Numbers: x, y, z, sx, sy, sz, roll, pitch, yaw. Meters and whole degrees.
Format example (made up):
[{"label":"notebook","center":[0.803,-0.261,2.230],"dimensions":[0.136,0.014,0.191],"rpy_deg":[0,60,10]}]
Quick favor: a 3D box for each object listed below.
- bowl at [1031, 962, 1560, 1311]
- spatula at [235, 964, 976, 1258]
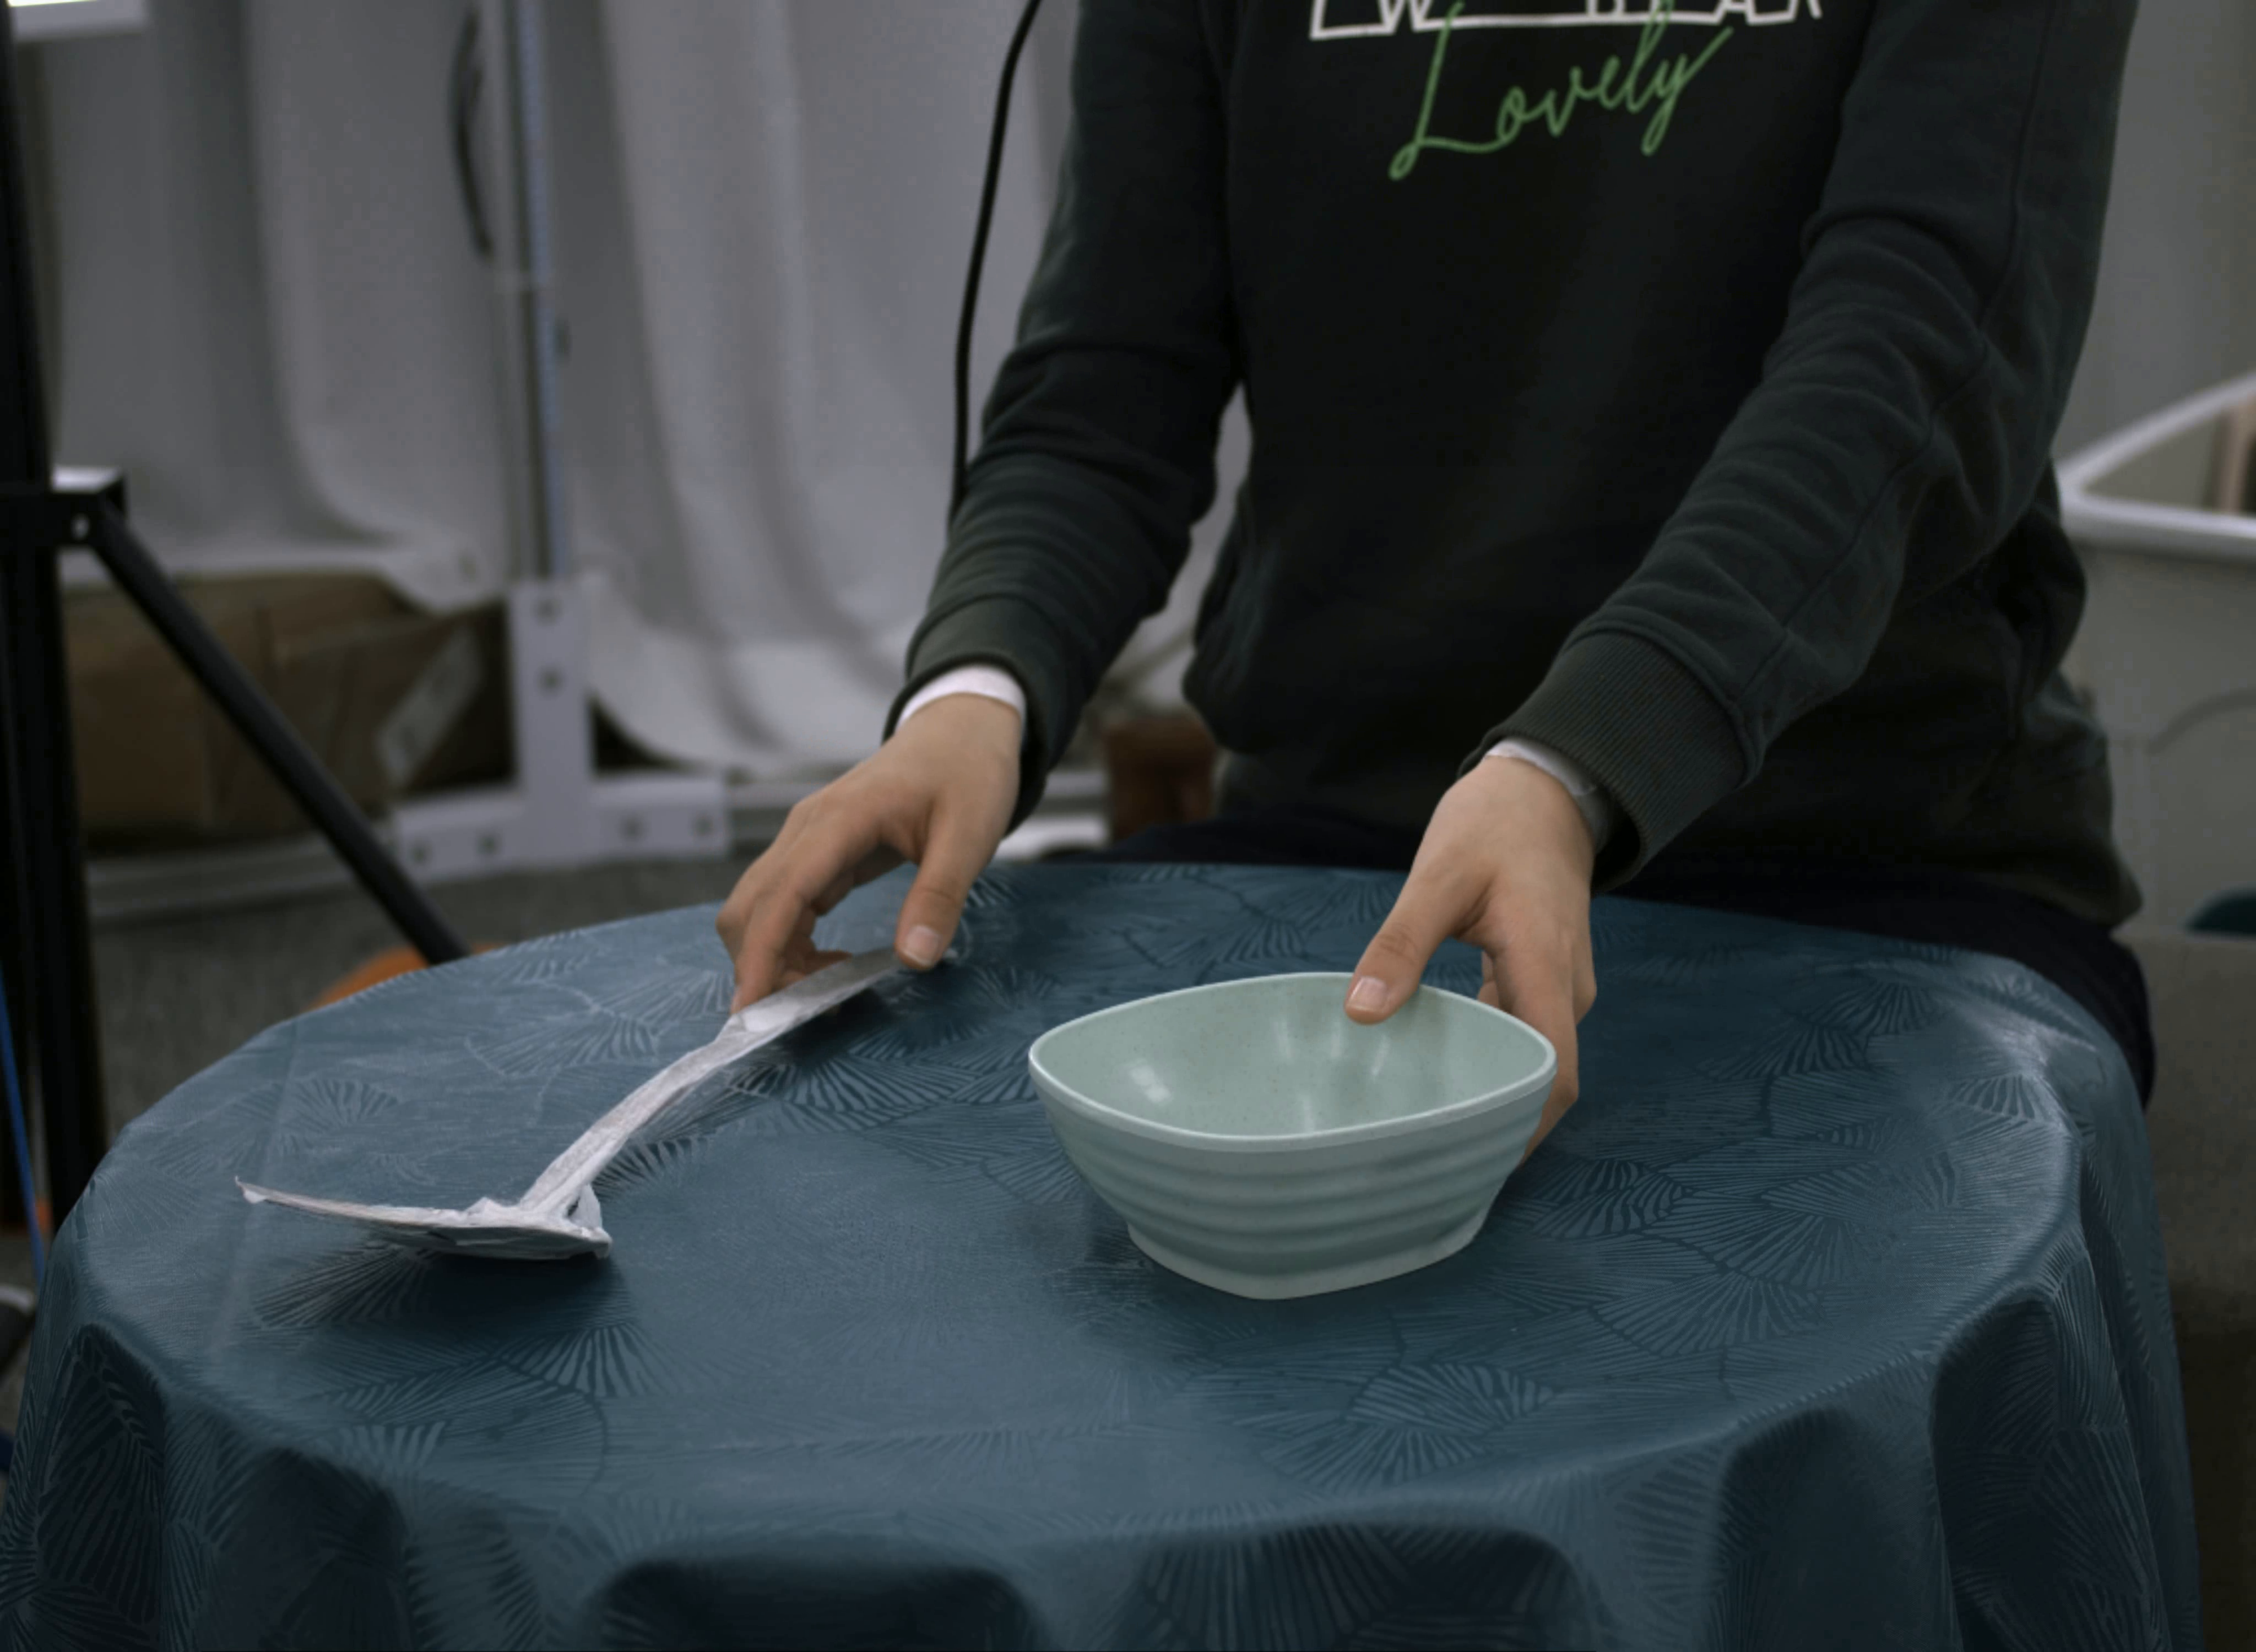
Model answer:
[{"label":"bowl","center":[0.048,0.092,1.506],"dimensions":[0.150,0.058,0.152],"rpy_deg":[-3,18,-1]},{"label":"spatula","center":[-0.137,0.077,1.621],"dimensions":[0.100,0.045,0.359],"rpy_deg":[3,17,25]}]
